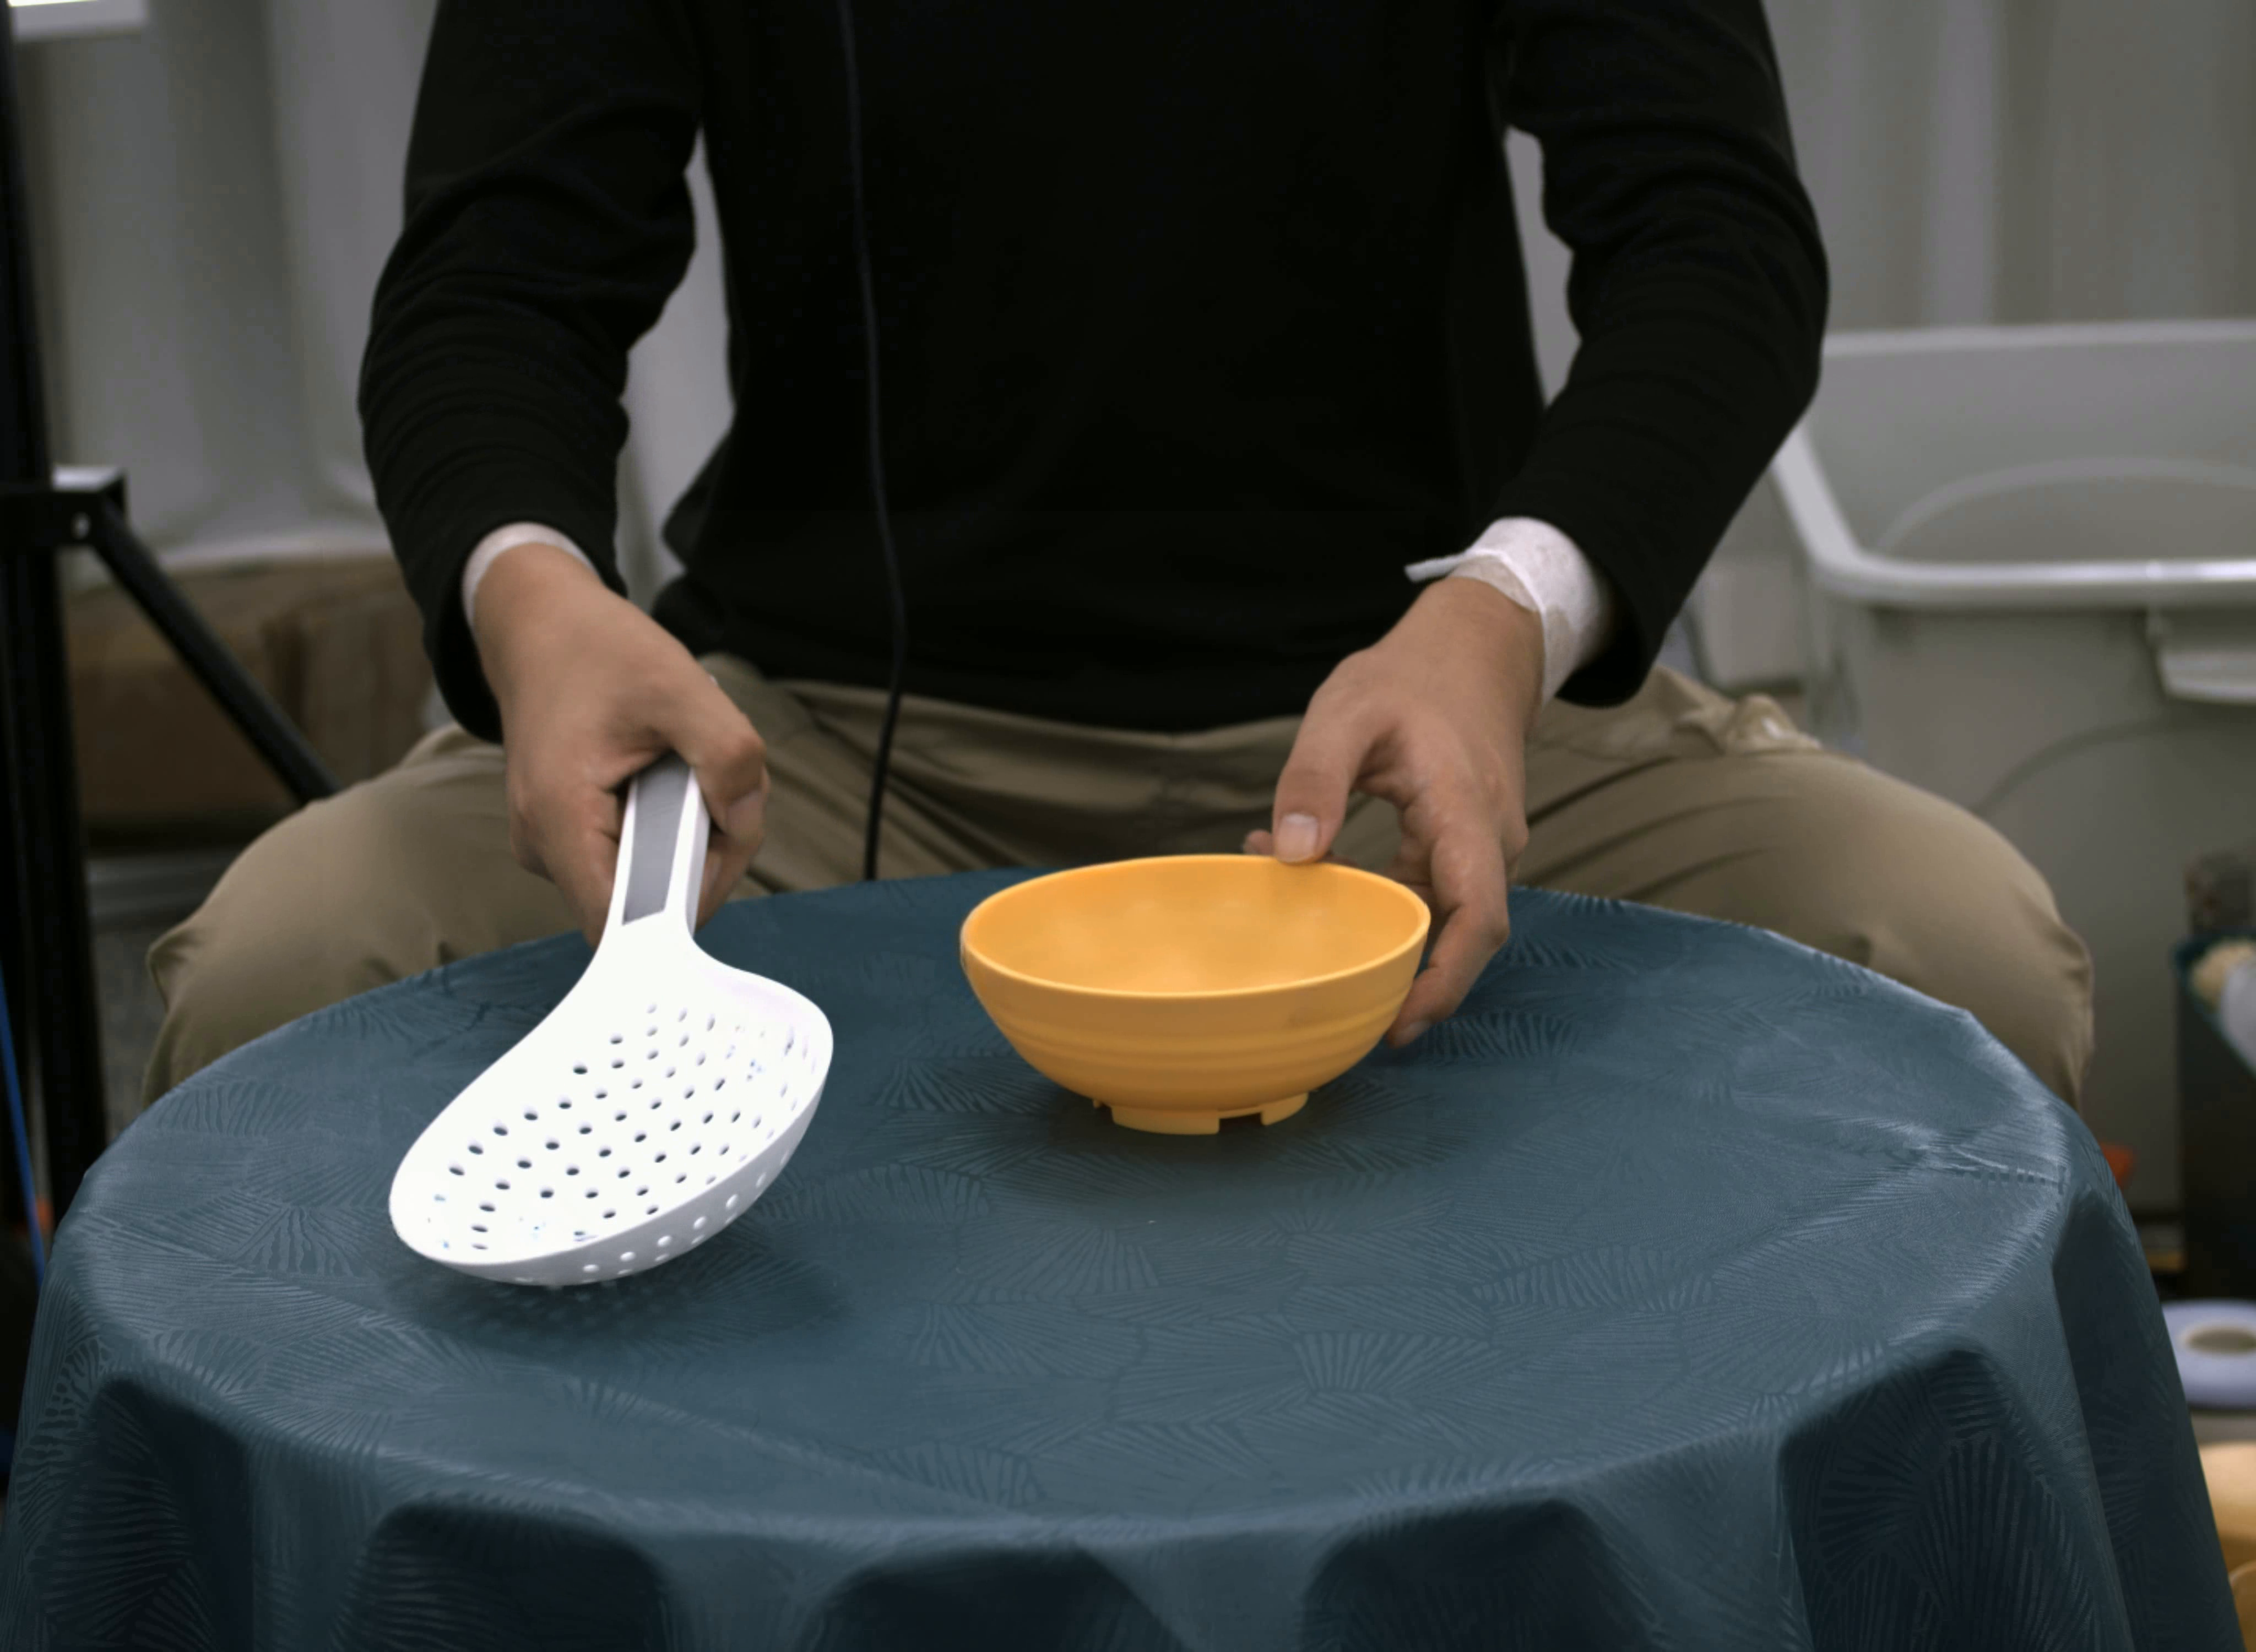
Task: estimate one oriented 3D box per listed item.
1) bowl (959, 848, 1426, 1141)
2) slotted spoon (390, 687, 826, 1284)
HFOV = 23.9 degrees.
[{"bbox_3d":[0.020,0.057,1.630,0.144,0.060,0.146,-2,18,-1],"label":"bowl"},{"bbox_3d":[-0.146,0.040,1.614,0.136,0.045,0.353,-21,29,10],"label":"slotted spoon"}]
